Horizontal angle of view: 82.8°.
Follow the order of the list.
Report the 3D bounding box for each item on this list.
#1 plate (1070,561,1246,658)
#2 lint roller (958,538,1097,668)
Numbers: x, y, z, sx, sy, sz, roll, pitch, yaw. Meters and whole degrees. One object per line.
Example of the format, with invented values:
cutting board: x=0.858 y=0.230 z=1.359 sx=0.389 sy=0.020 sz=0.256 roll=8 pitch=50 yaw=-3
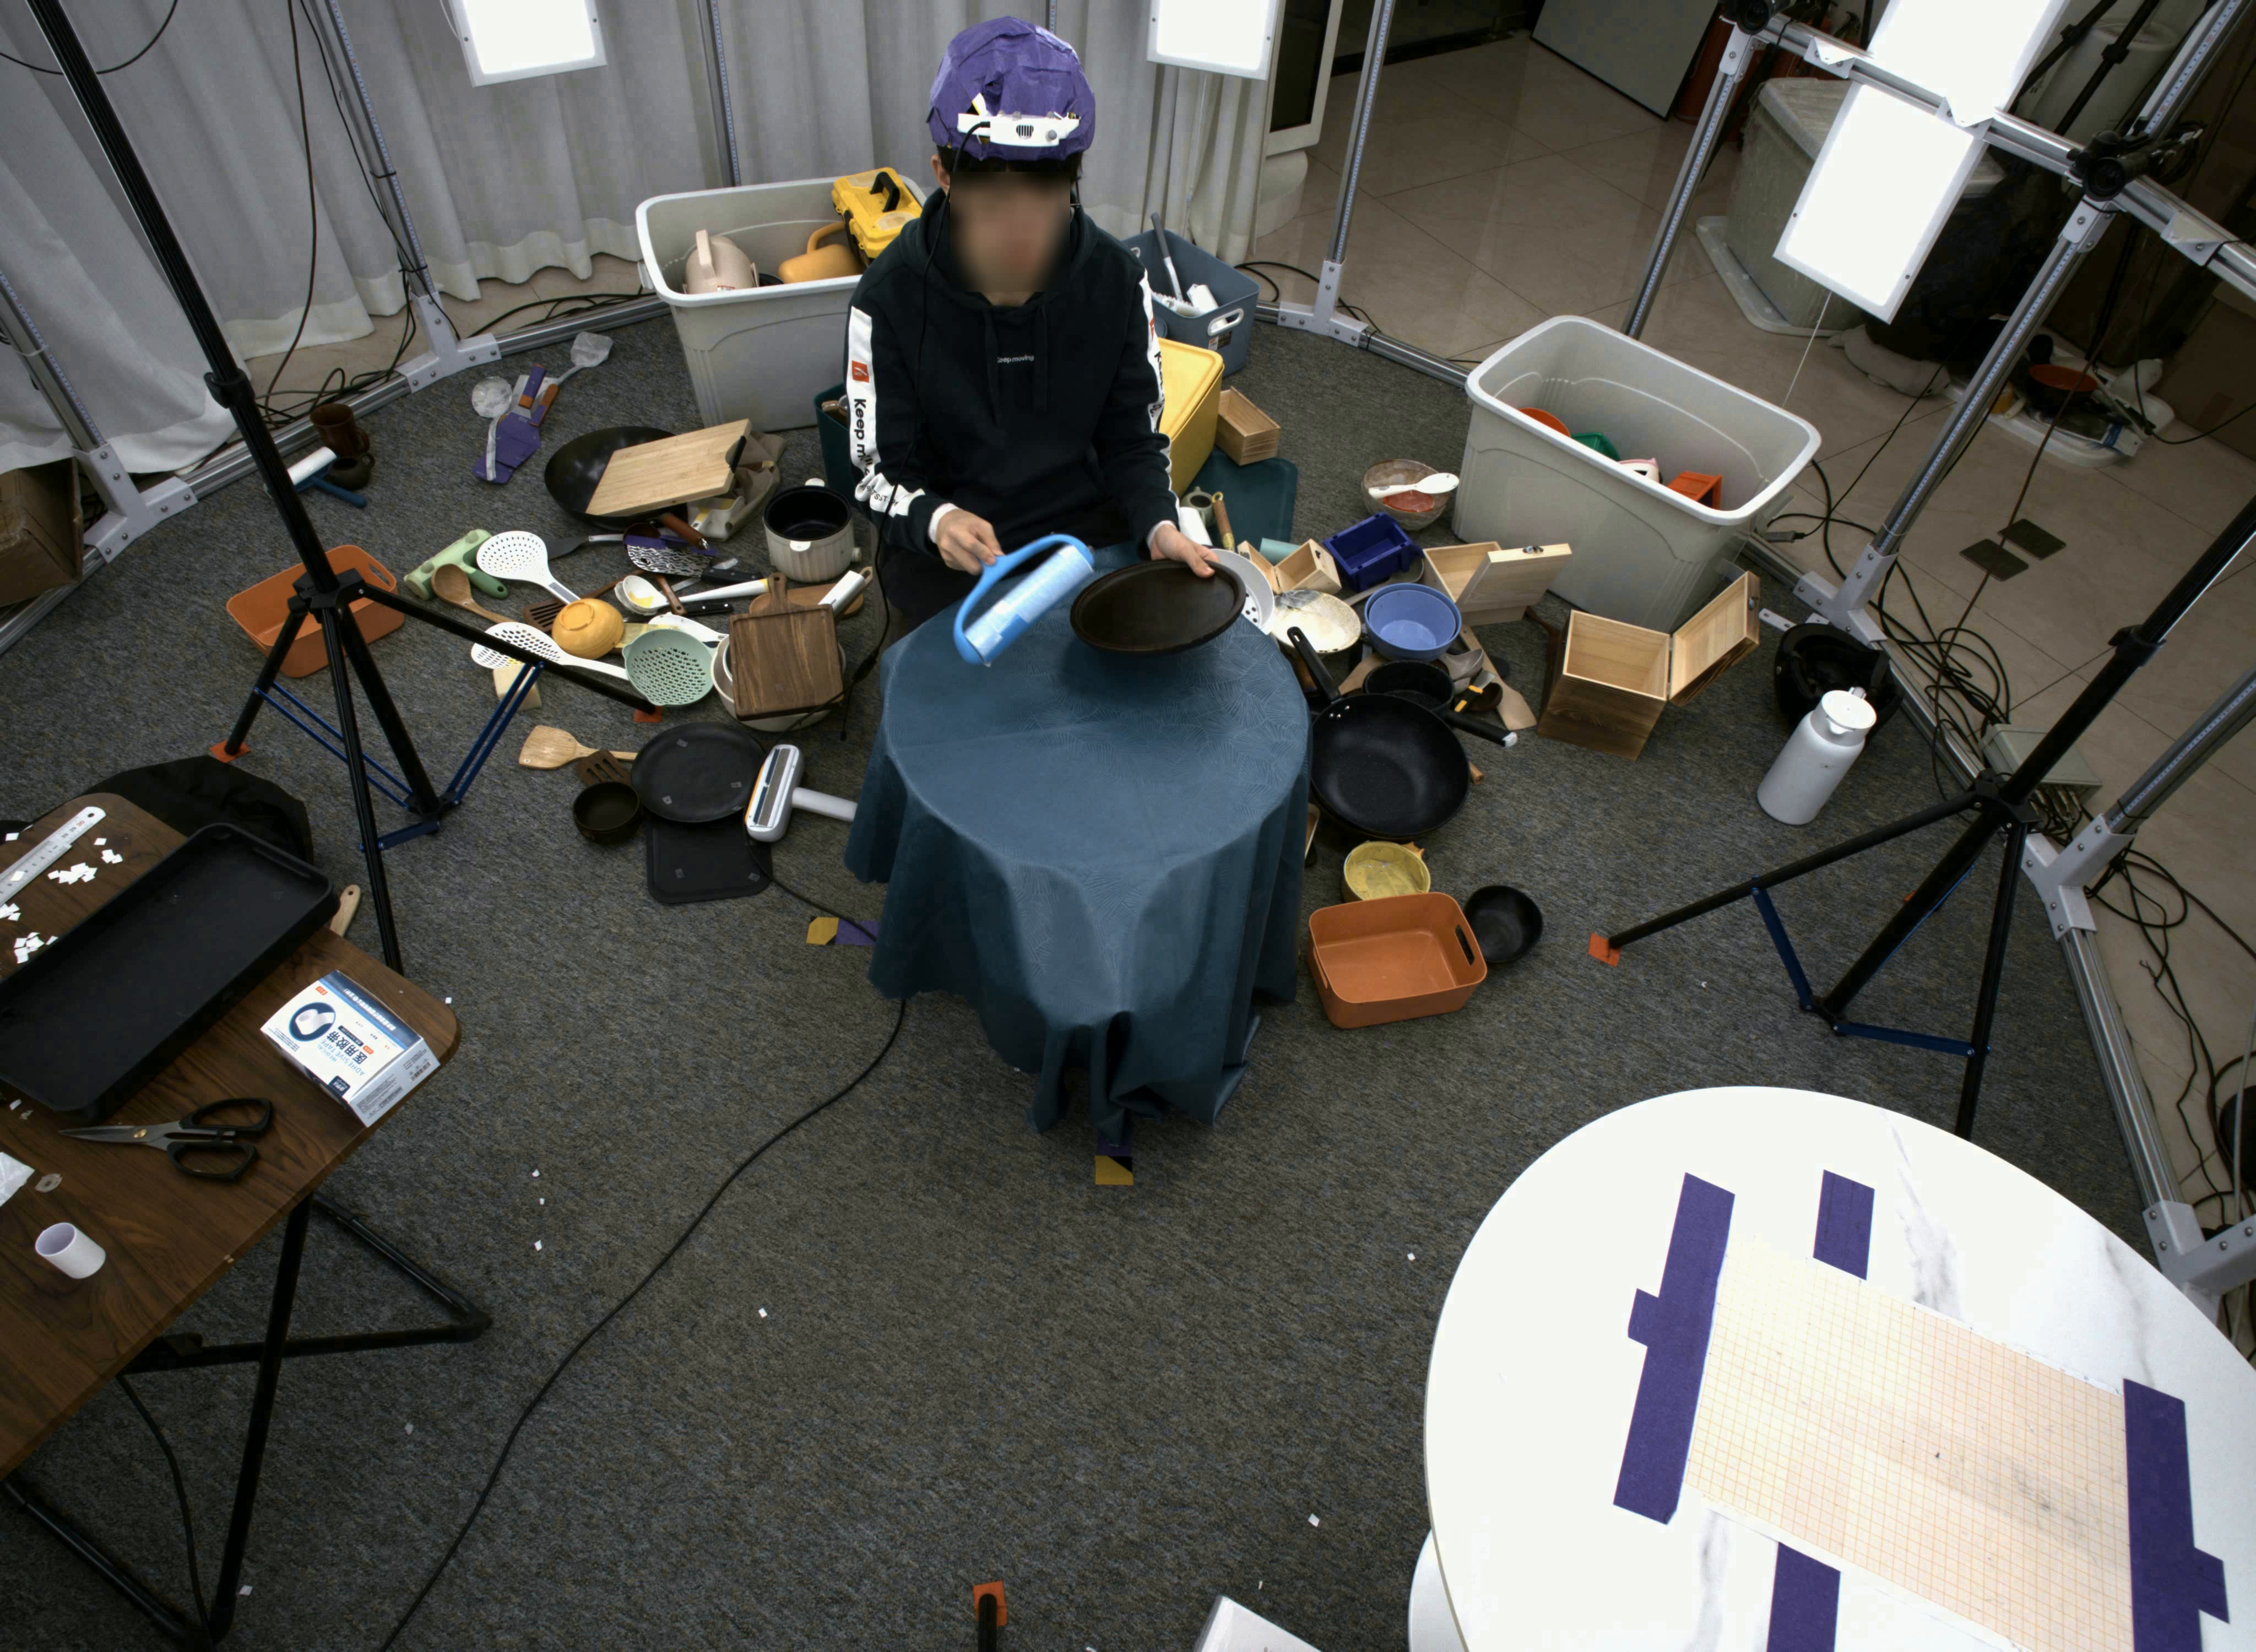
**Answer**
plate: x=0.043 y=-0.310 z=1.827 sx=0.255 sy=0.028 sz=0.261 roll=-7 pitch=38 yaw=5
lint roller: x=-0.174 y=-0.338 z=1.769 sx=0.230 sy=0.067 sz=0.182 roll=-44 pitch=72 yaw=-8
